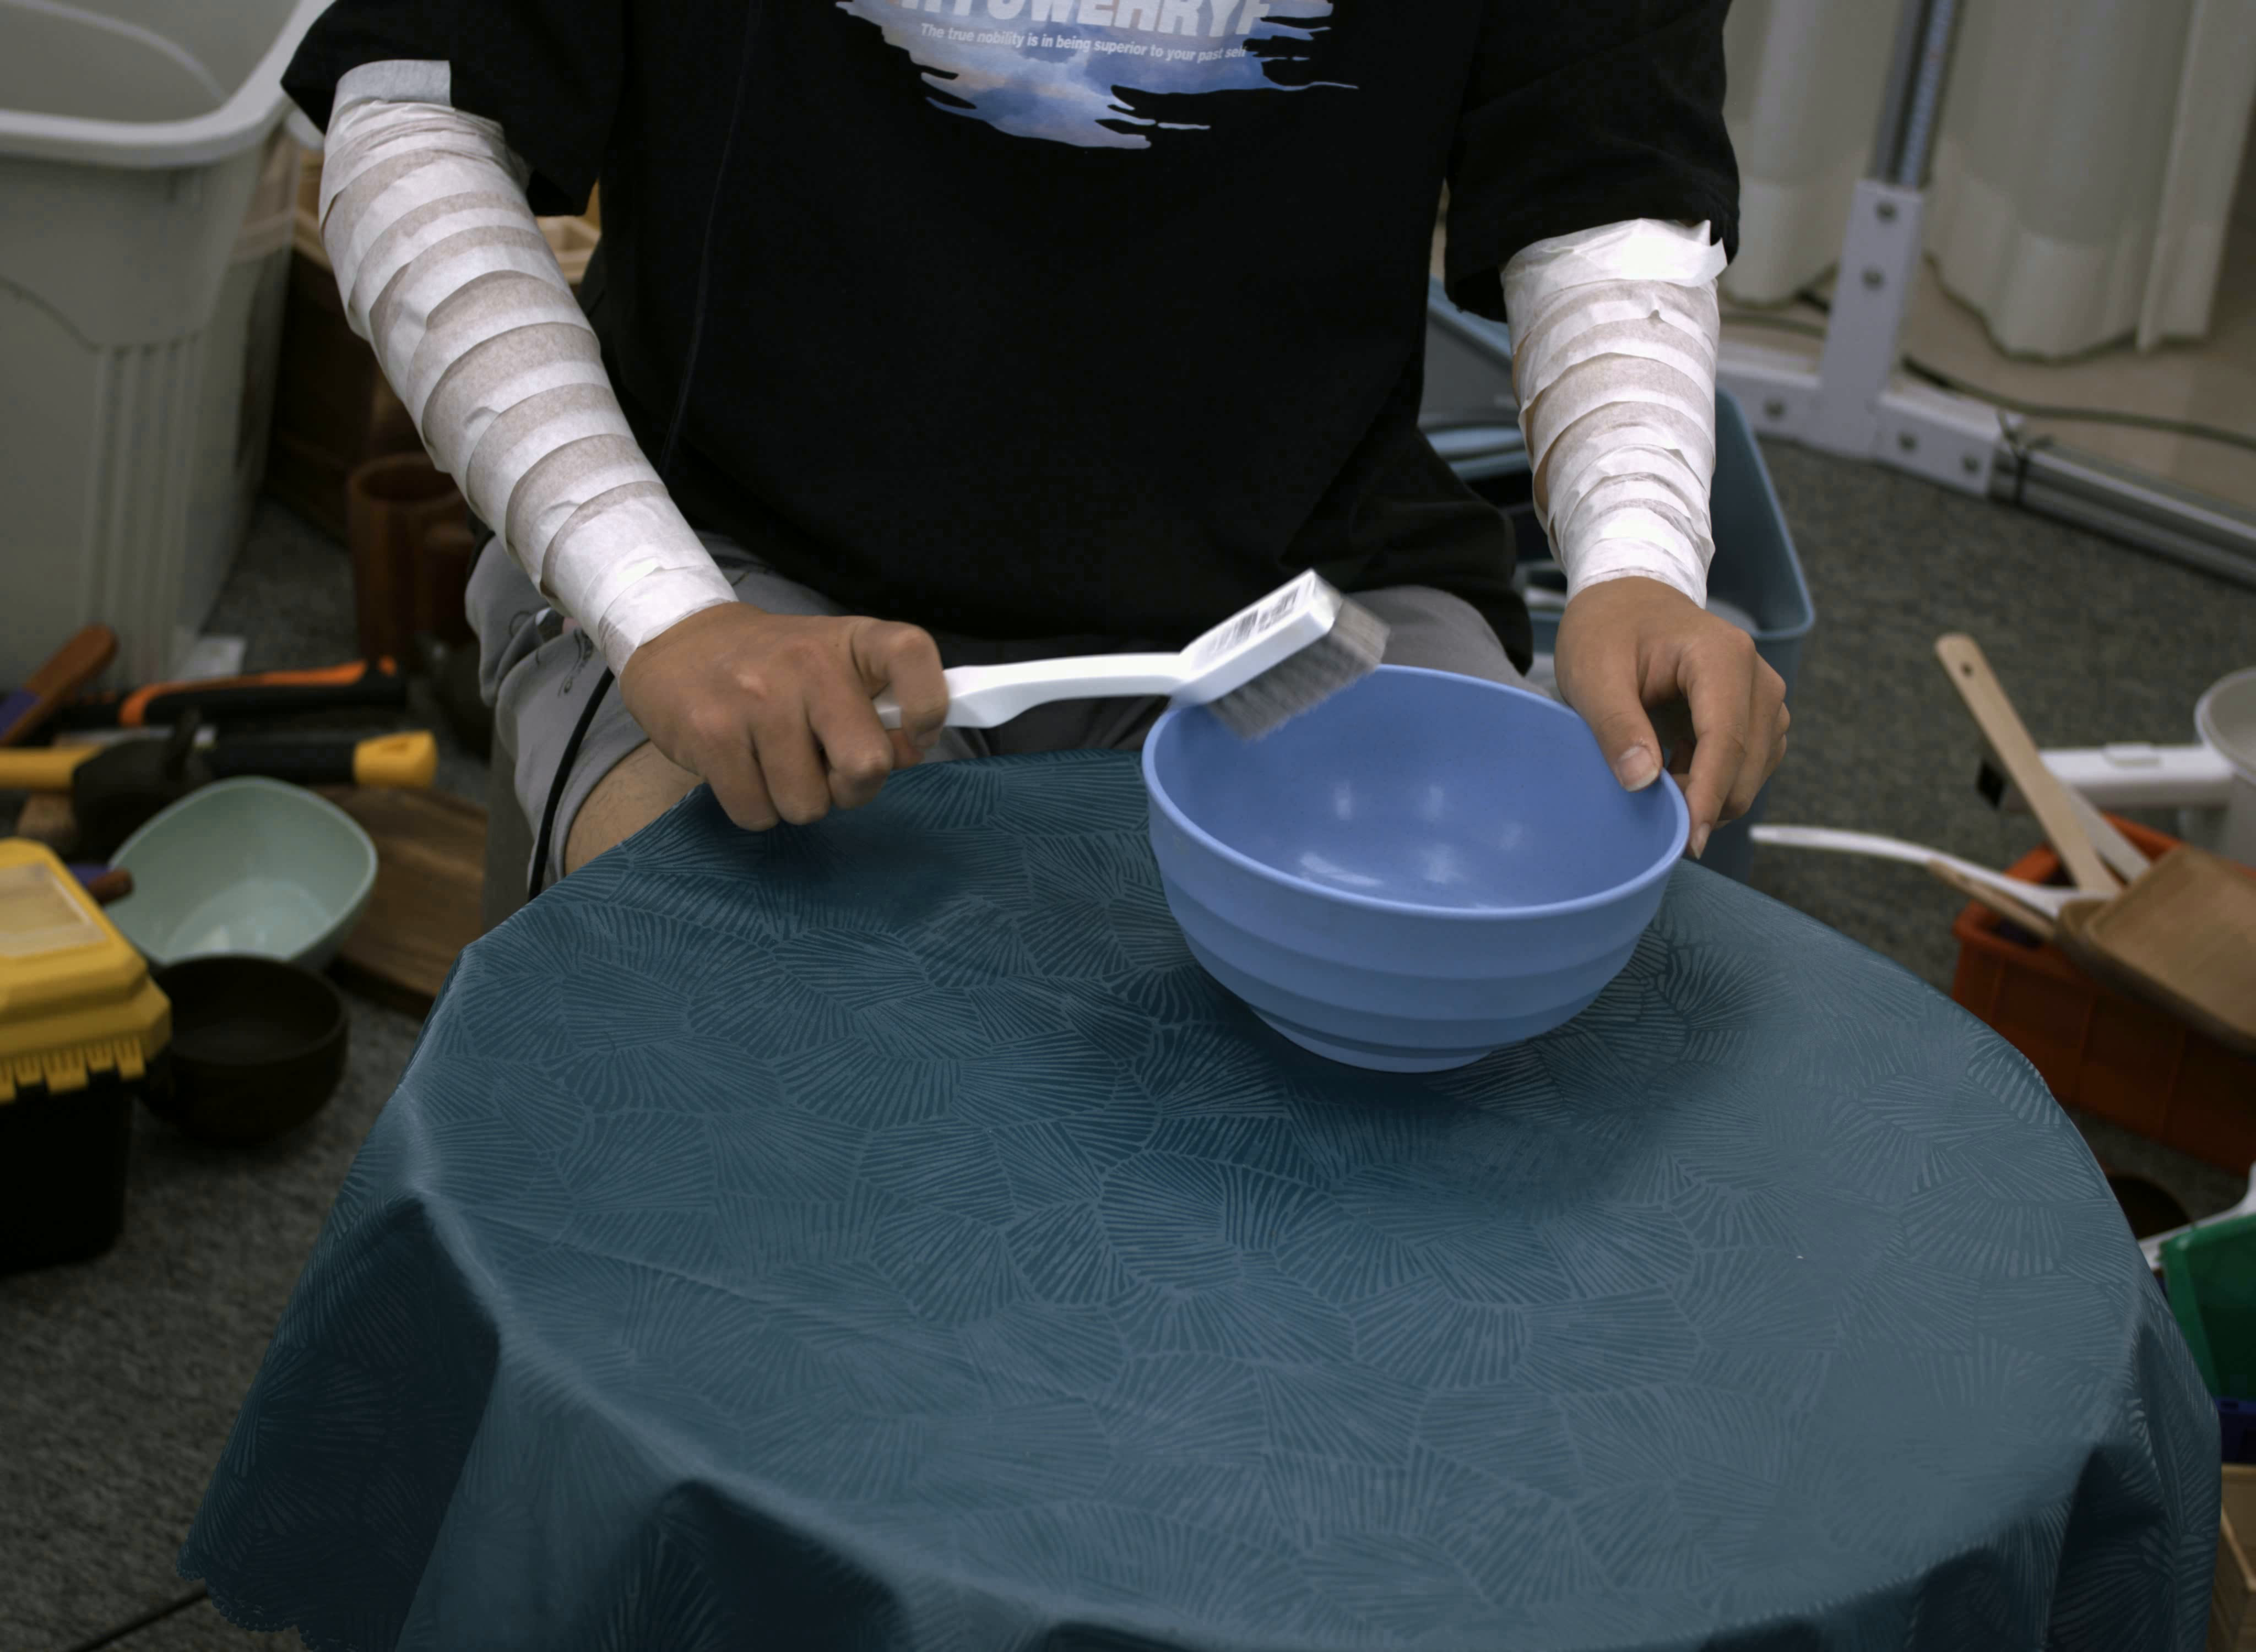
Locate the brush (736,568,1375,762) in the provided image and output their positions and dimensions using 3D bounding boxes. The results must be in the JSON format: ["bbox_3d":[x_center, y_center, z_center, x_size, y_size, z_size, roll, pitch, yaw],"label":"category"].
[{"bbox_3d":[-0.027,-0.042,1.946,0.244,0.050,0.034,-14,30,18],"label":"brush"}]

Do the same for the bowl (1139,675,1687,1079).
[{"bbox_3d":[0.098,0.028,1.916,0.196,0.095,0.197,3,26,-2],"label":"bowl"}]
